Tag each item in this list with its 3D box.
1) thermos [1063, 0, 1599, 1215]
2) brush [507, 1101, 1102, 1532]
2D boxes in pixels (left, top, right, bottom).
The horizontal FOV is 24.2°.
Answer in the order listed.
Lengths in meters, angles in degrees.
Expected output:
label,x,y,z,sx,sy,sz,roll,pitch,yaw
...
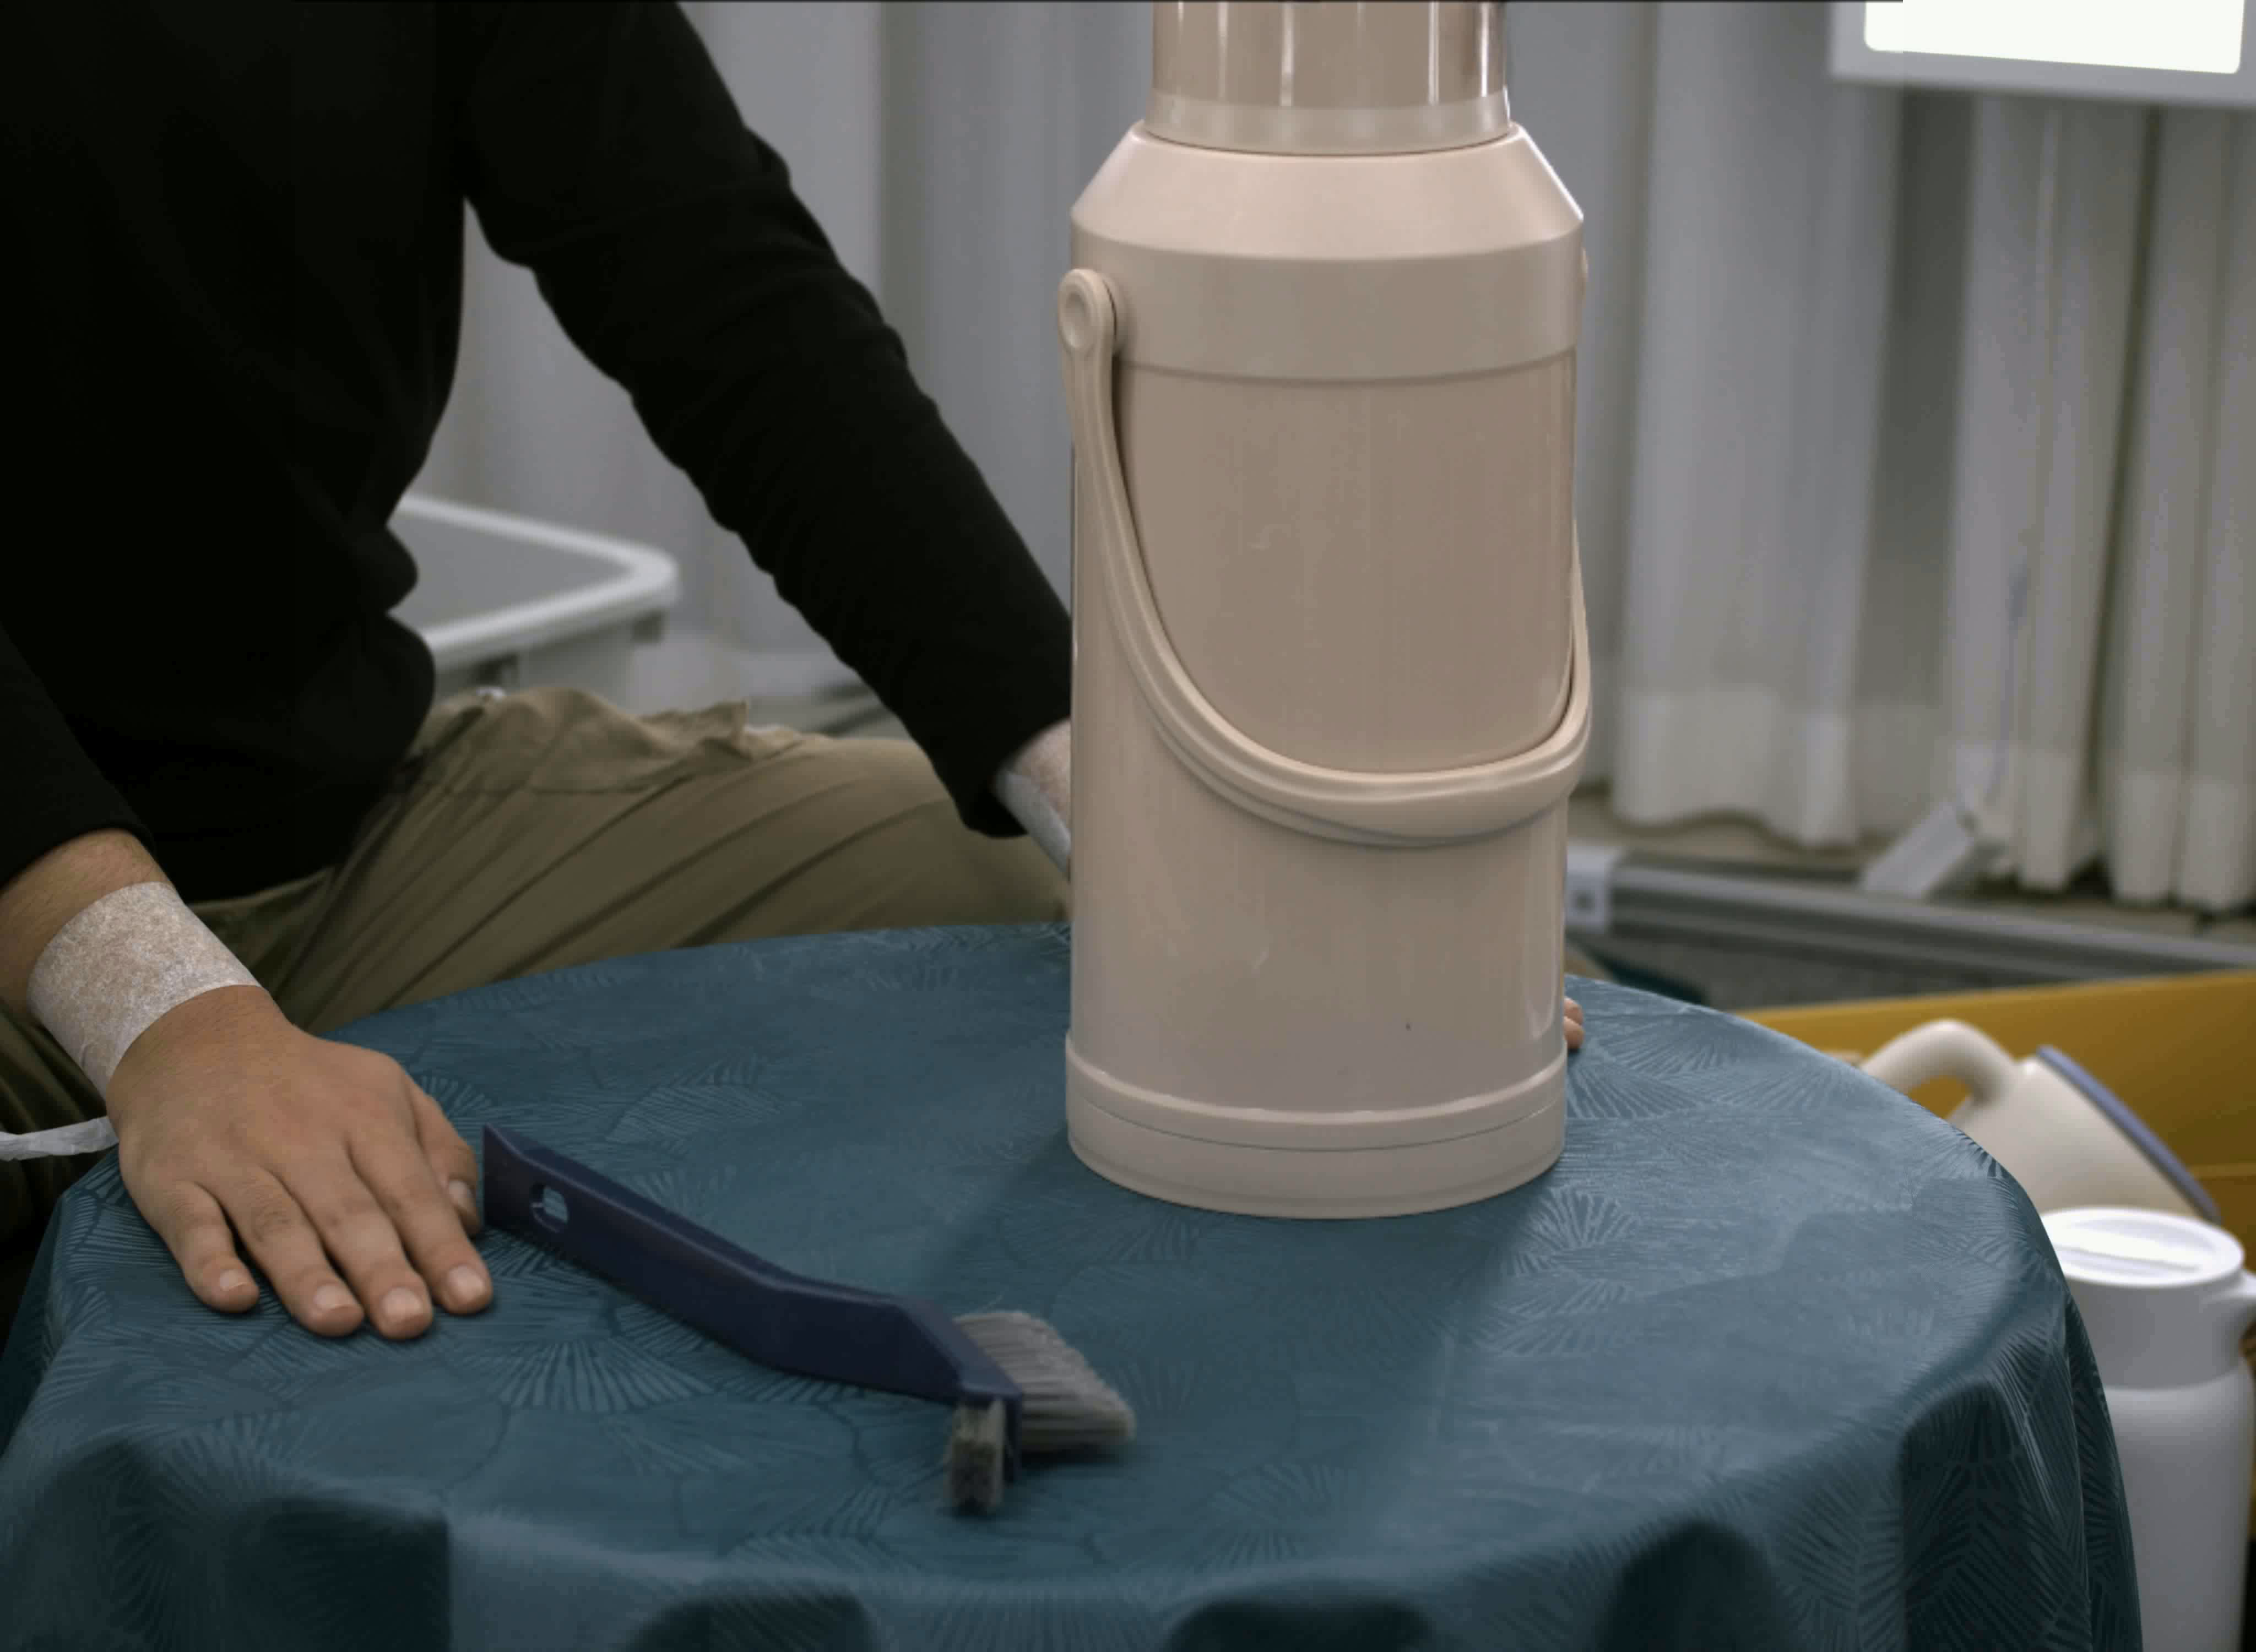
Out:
label,x,y,z,sx,sy,sz,roll,pitch,yaw
thermos,0.056,-0.096,1.630,0.176,0.410,0.204,-11,20,-29
brush,-0.111,0.133,1.479,0.269,0.034,0.096,18,21,42
